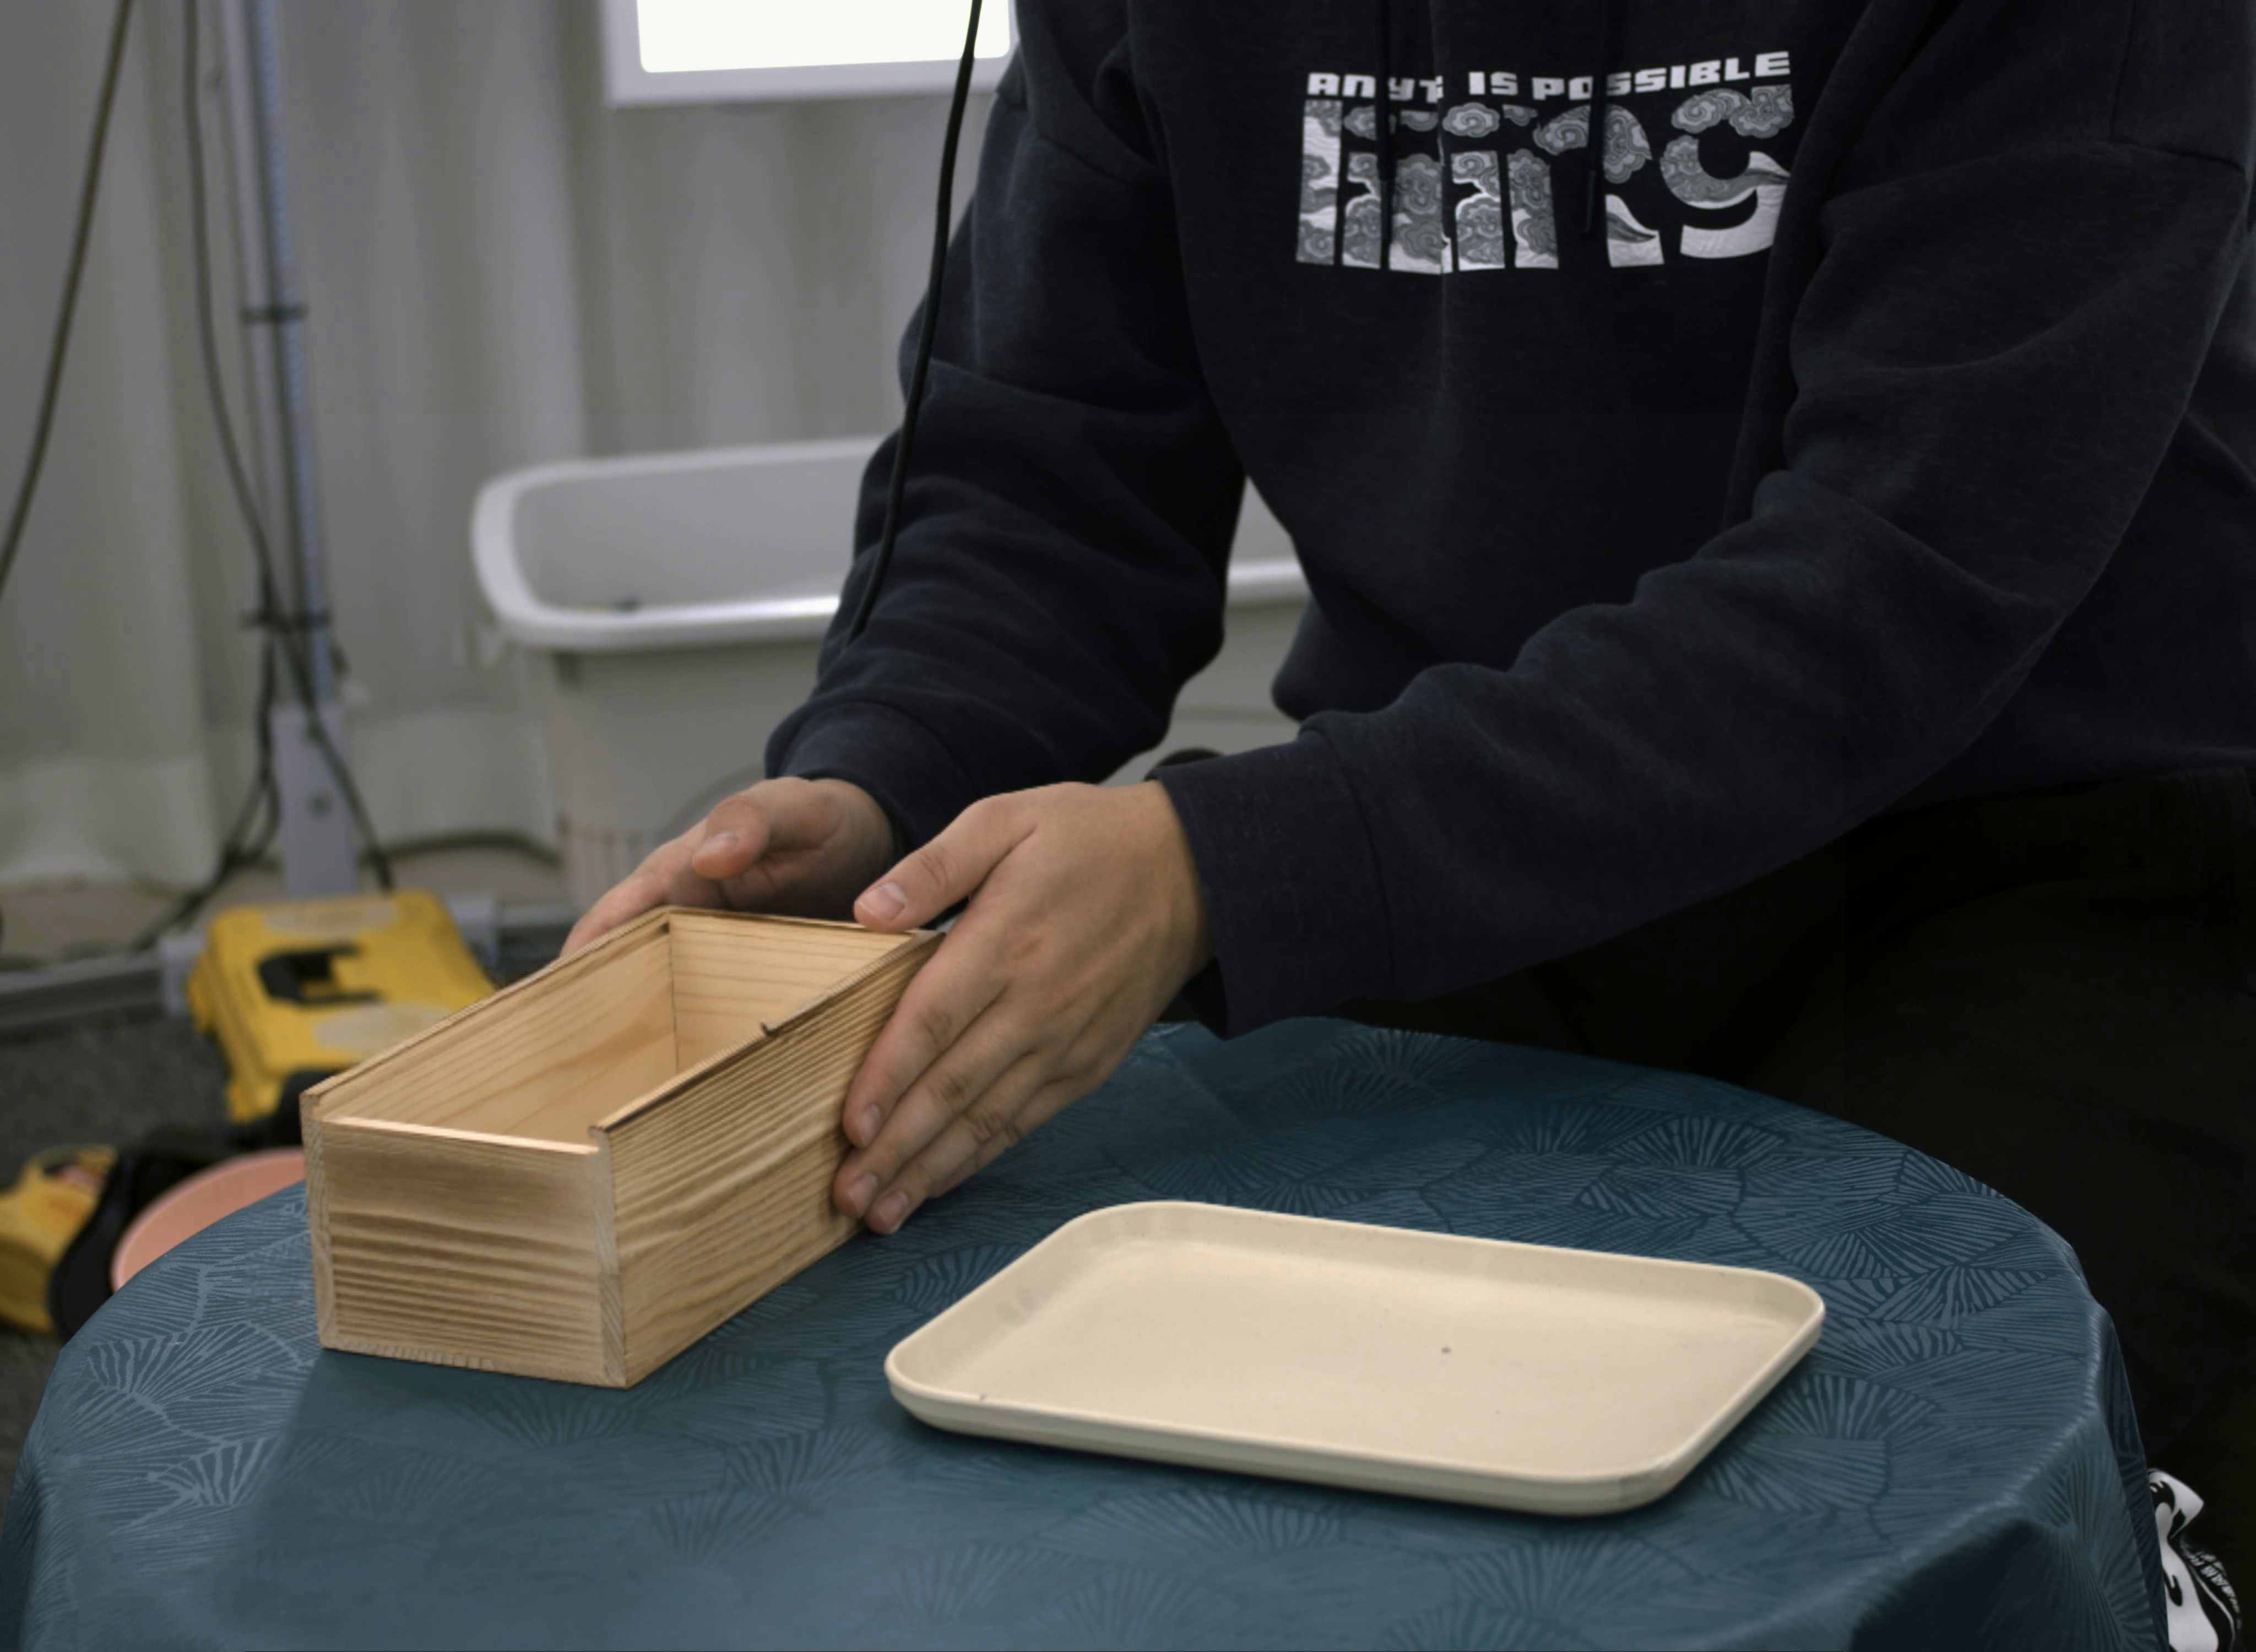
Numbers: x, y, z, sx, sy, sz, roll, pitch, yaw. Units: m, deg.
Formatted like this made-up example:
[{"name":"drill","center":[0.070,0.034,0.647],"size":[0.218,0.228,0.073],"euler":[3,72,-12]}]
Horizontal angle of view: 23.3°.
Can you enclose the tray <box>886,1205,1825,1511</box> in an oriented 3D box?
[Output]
[{"name":"tray","center":[0.065,0.149,1.542],"size":[0.240,0.017,0.171],"euler":[4,16,26]}]

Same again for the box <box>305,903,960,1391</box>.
[{"name":"box","center":[-0.146,0.094,1.668],"size":[0.107,0.080,0.212],"euler":[5,16,25]}]
